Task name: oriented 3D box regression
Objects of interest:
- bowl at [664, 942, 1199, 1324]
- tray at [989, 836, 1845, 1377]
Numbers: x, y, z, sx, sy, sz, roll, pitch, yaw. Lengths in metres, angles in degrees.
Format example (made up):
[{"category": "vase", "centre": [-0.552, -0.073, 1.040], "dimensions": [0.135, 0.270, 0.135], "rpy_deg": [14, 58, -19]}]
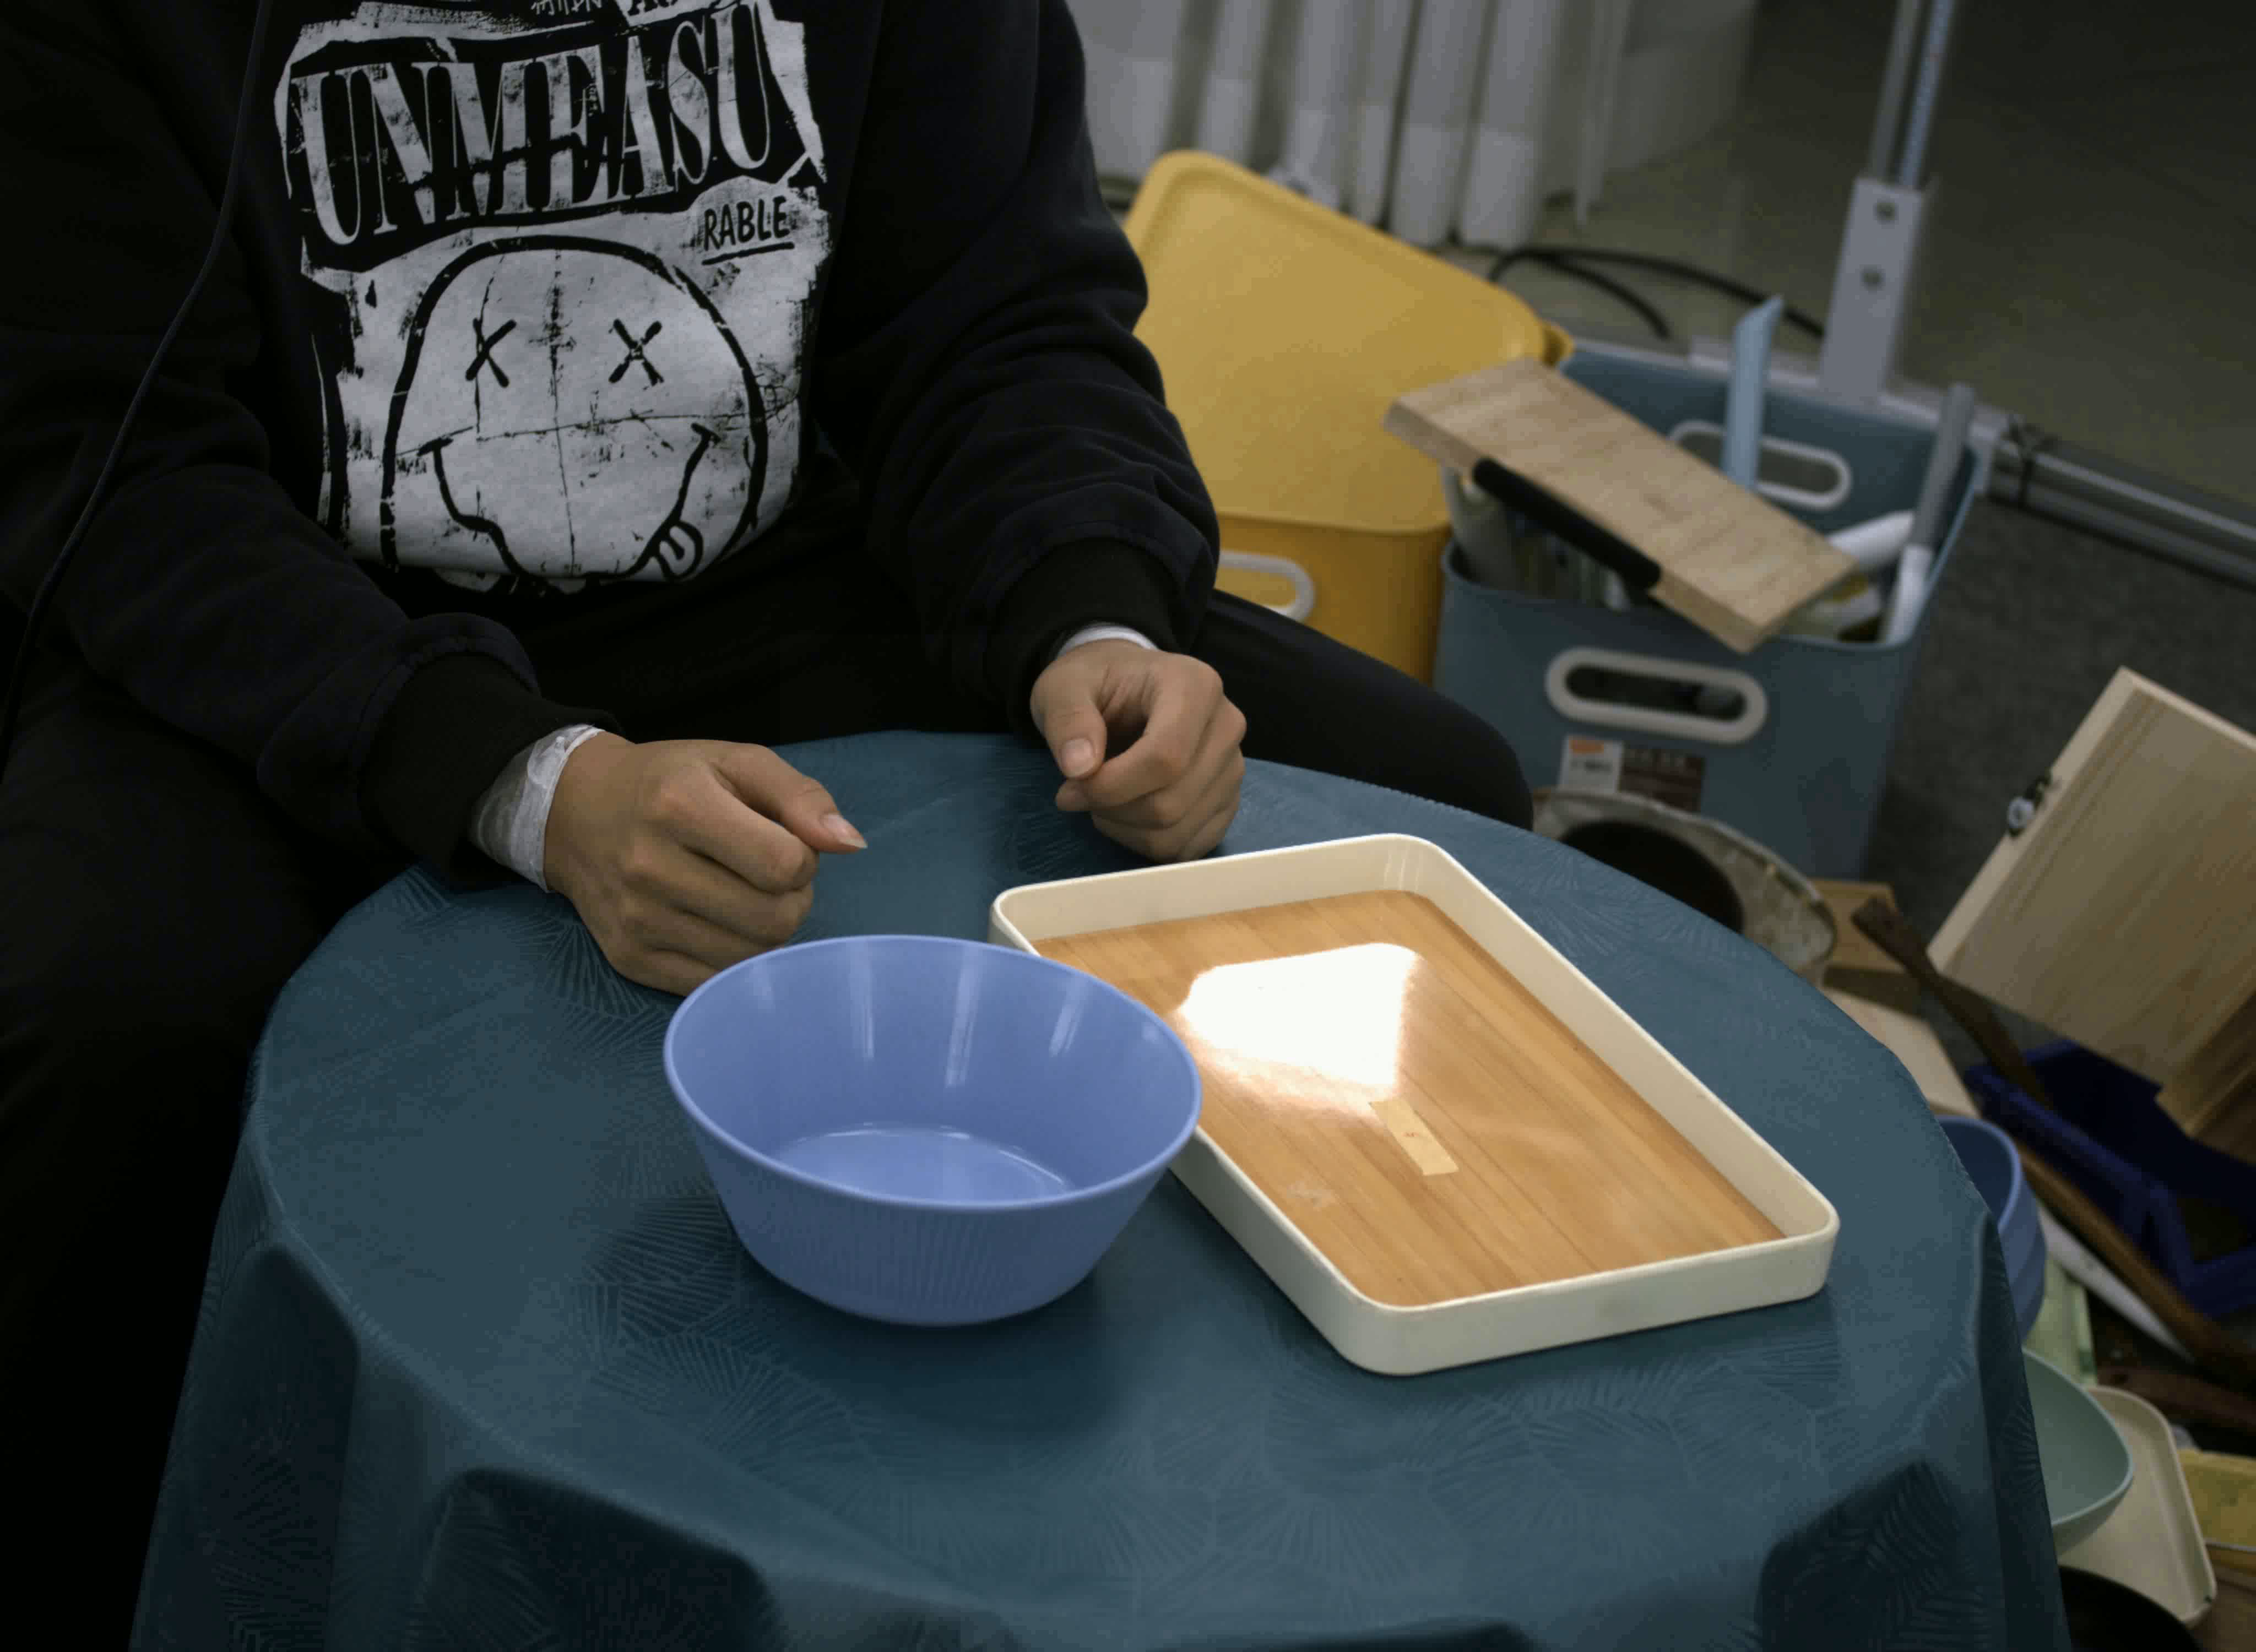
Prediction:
[{"category": "bowl", "centre": [-0.067, 0.106, 1.741], "dimensions": [0.175, 0.070, 0.177], "rpy_deg": [6, 26, -3]}, {"category": "tray", "centre": [0.095, 0.091, 1.857], "dimensions": [0.190, 0.027, 0.303], "rpy_deg": [-8, 30, -26]}]
